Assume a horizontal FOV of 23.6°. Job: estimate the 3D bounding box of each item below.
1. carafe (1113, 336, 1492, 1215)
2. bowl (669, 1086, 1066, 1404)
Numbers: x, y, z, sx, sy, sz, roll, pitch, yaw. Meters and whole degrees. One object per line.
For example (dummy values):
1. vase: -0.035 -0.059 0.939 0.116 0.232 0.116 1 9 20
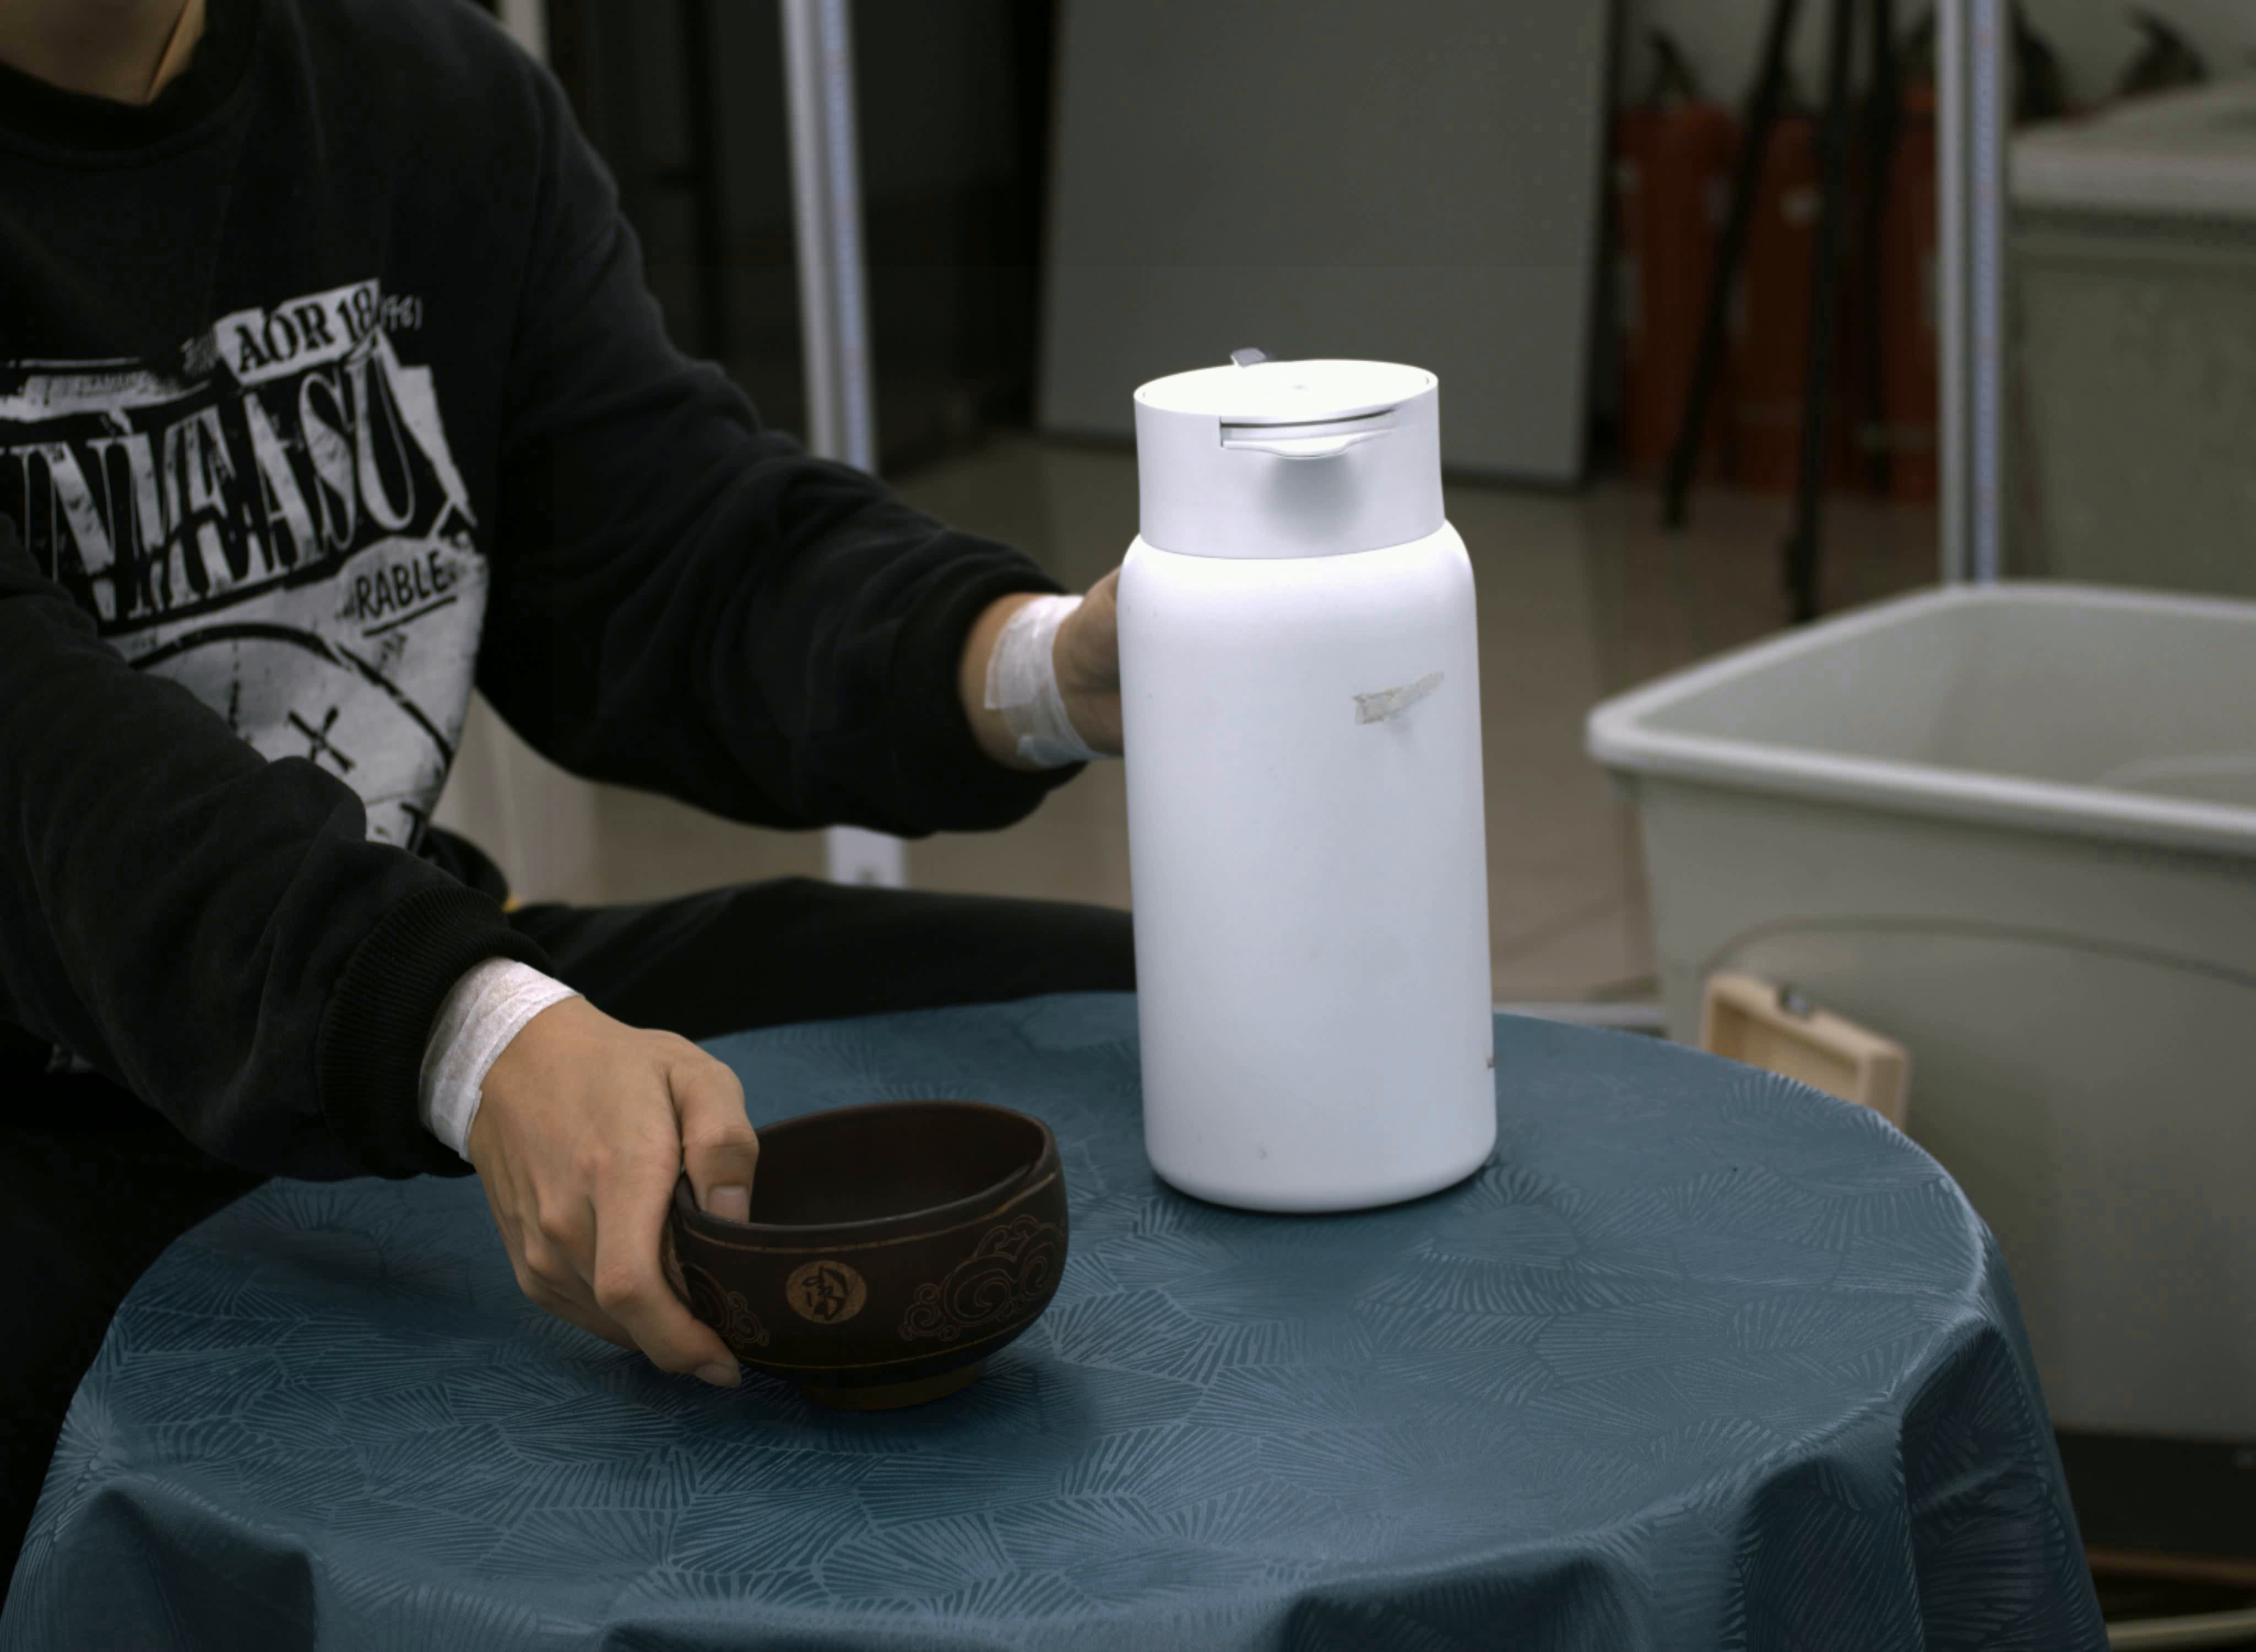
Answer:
1. carafe: 0.053 -0.021 1.770 0.122 0.272 0.173 -7 14 -5
2. bowl: -0.074 0.129 1.603 0.116 0.070 0.118 -8 15 1
